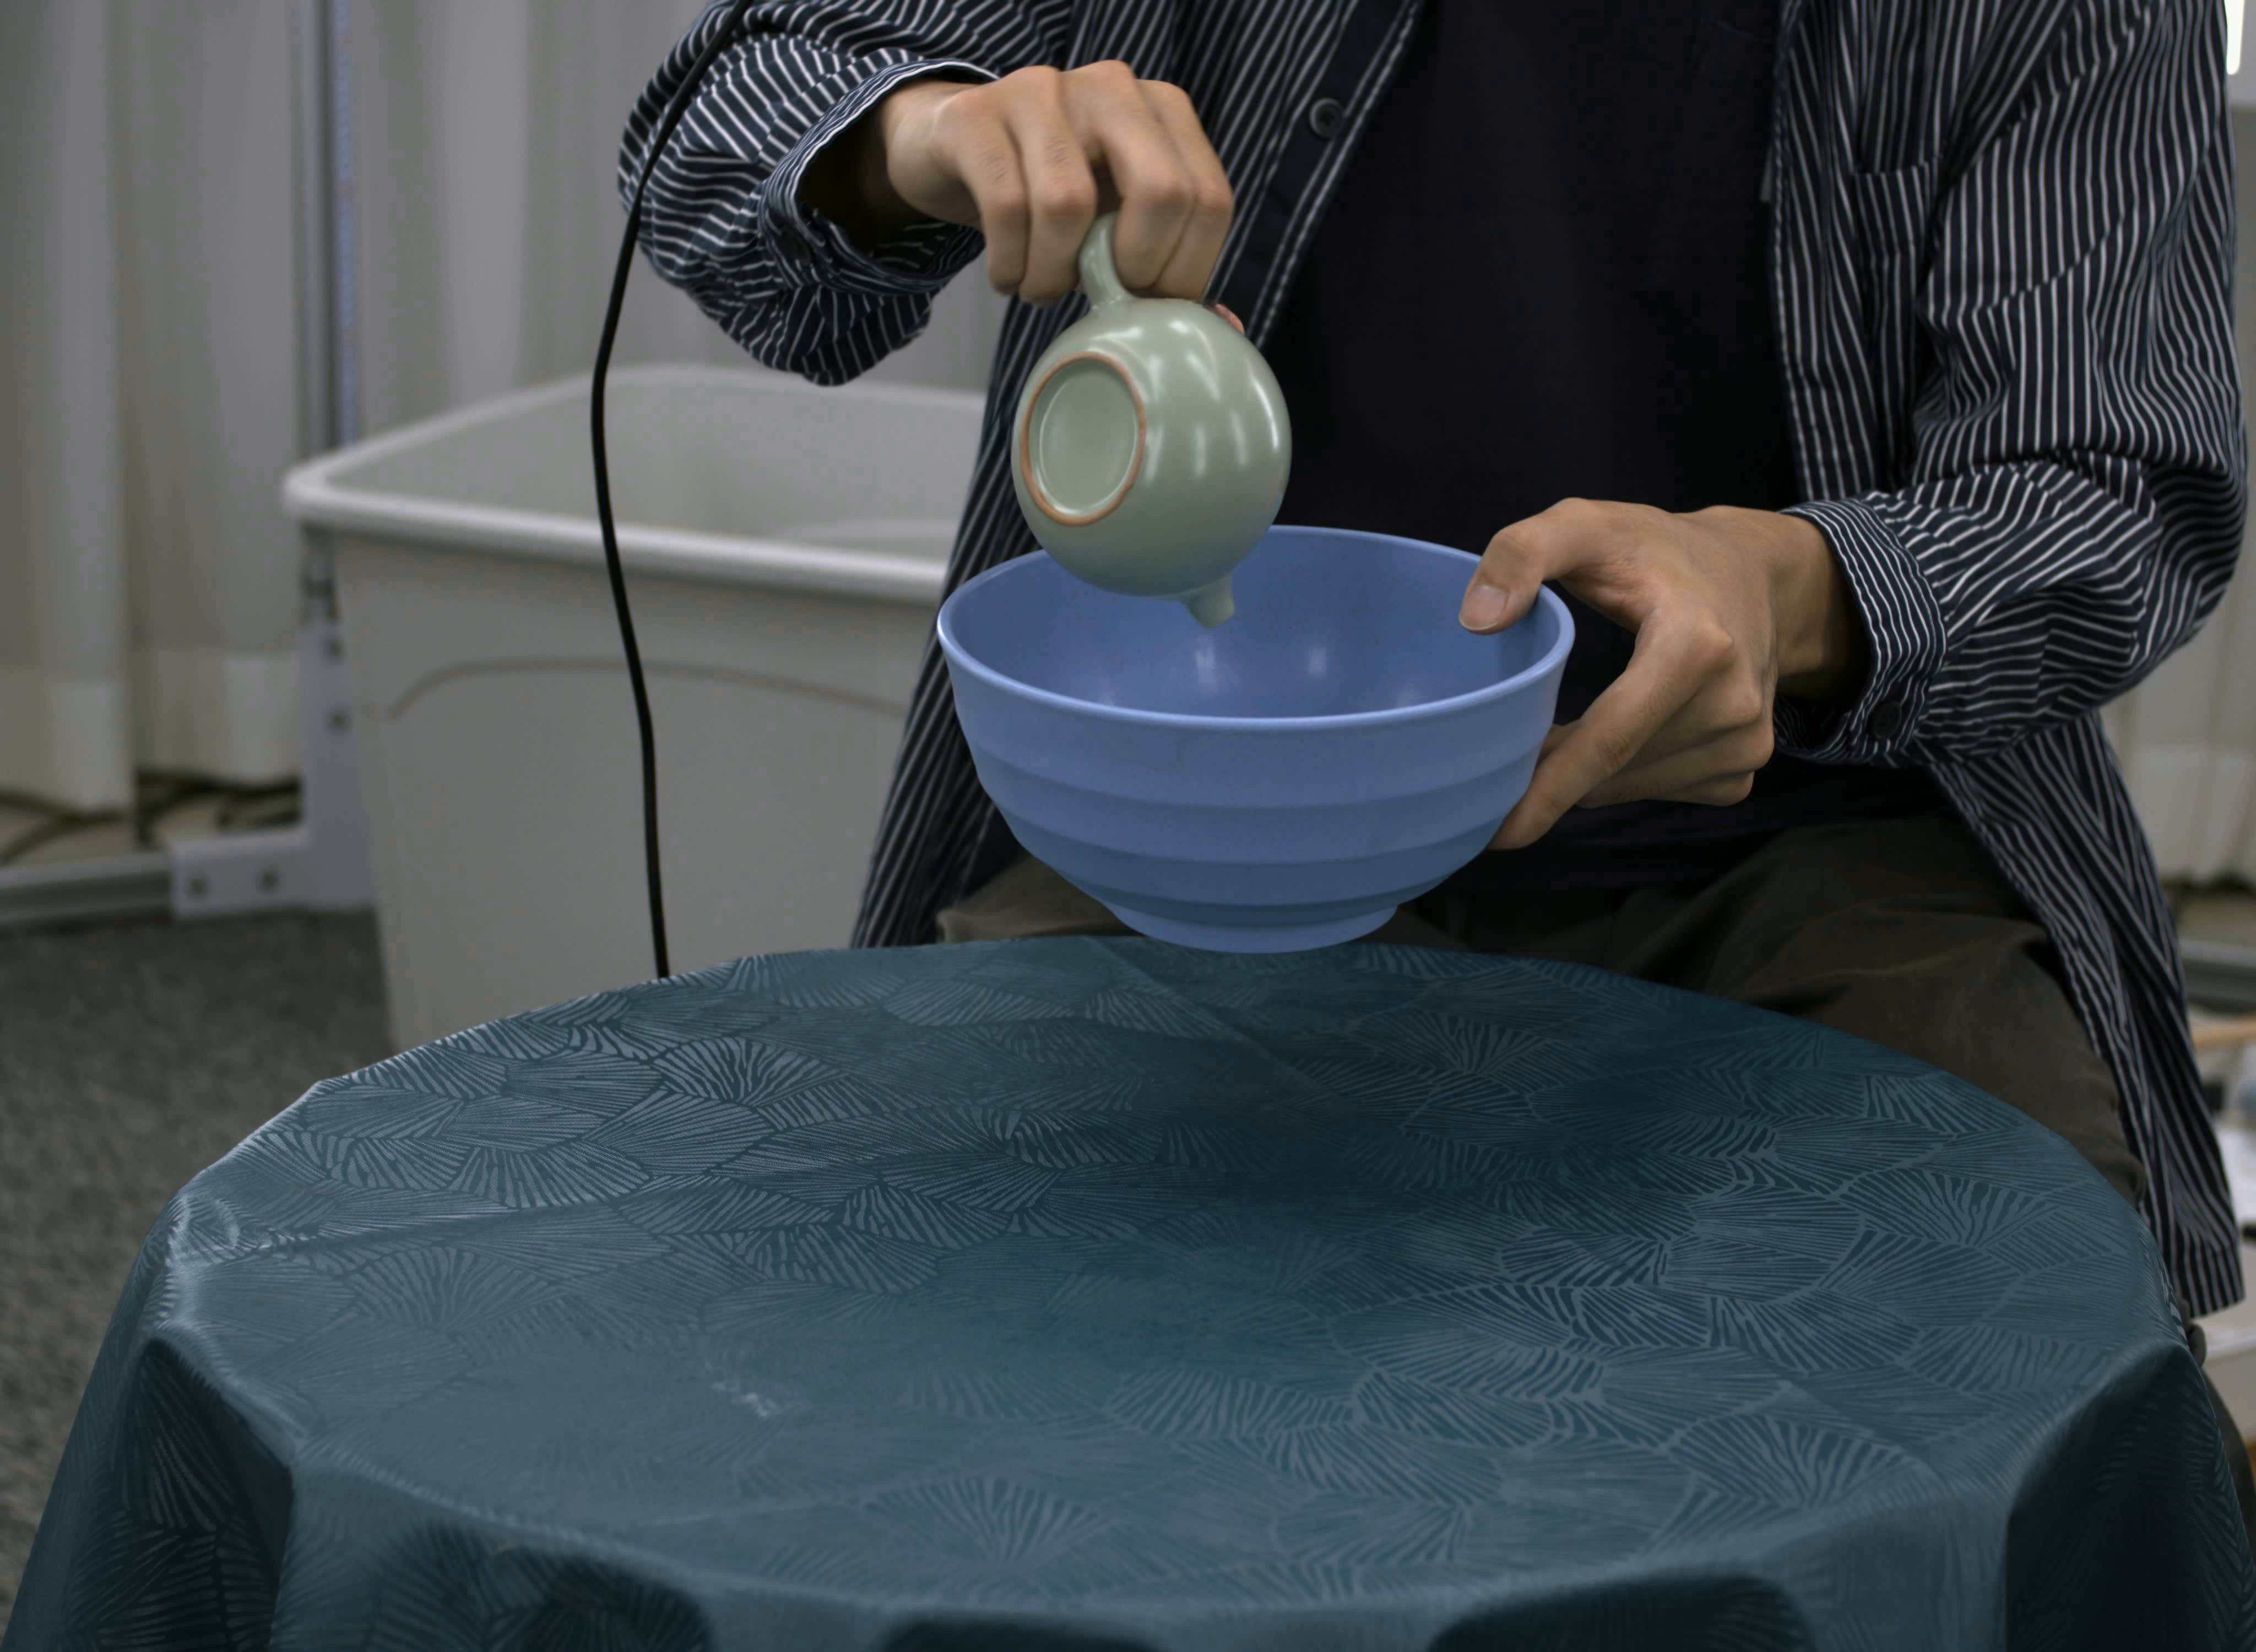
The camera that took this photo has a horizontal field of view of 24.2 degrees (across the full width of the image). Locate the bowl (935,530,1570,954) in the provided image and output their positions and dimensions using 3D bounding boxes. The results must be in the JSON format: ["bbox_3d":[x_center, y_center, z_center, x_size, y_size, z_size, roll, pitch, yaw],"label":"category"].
[{"bbox_3d":[0.038,-0.020,1.640,0.196,0.096,0.195,0,20,0],"label":"bowl"}]

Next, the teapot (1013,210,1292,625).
[{"bbox_3d":[0.005,-0.125,1.602,0.061,0.128,0.091,3,-15,-45],"label":"teapot"}]
